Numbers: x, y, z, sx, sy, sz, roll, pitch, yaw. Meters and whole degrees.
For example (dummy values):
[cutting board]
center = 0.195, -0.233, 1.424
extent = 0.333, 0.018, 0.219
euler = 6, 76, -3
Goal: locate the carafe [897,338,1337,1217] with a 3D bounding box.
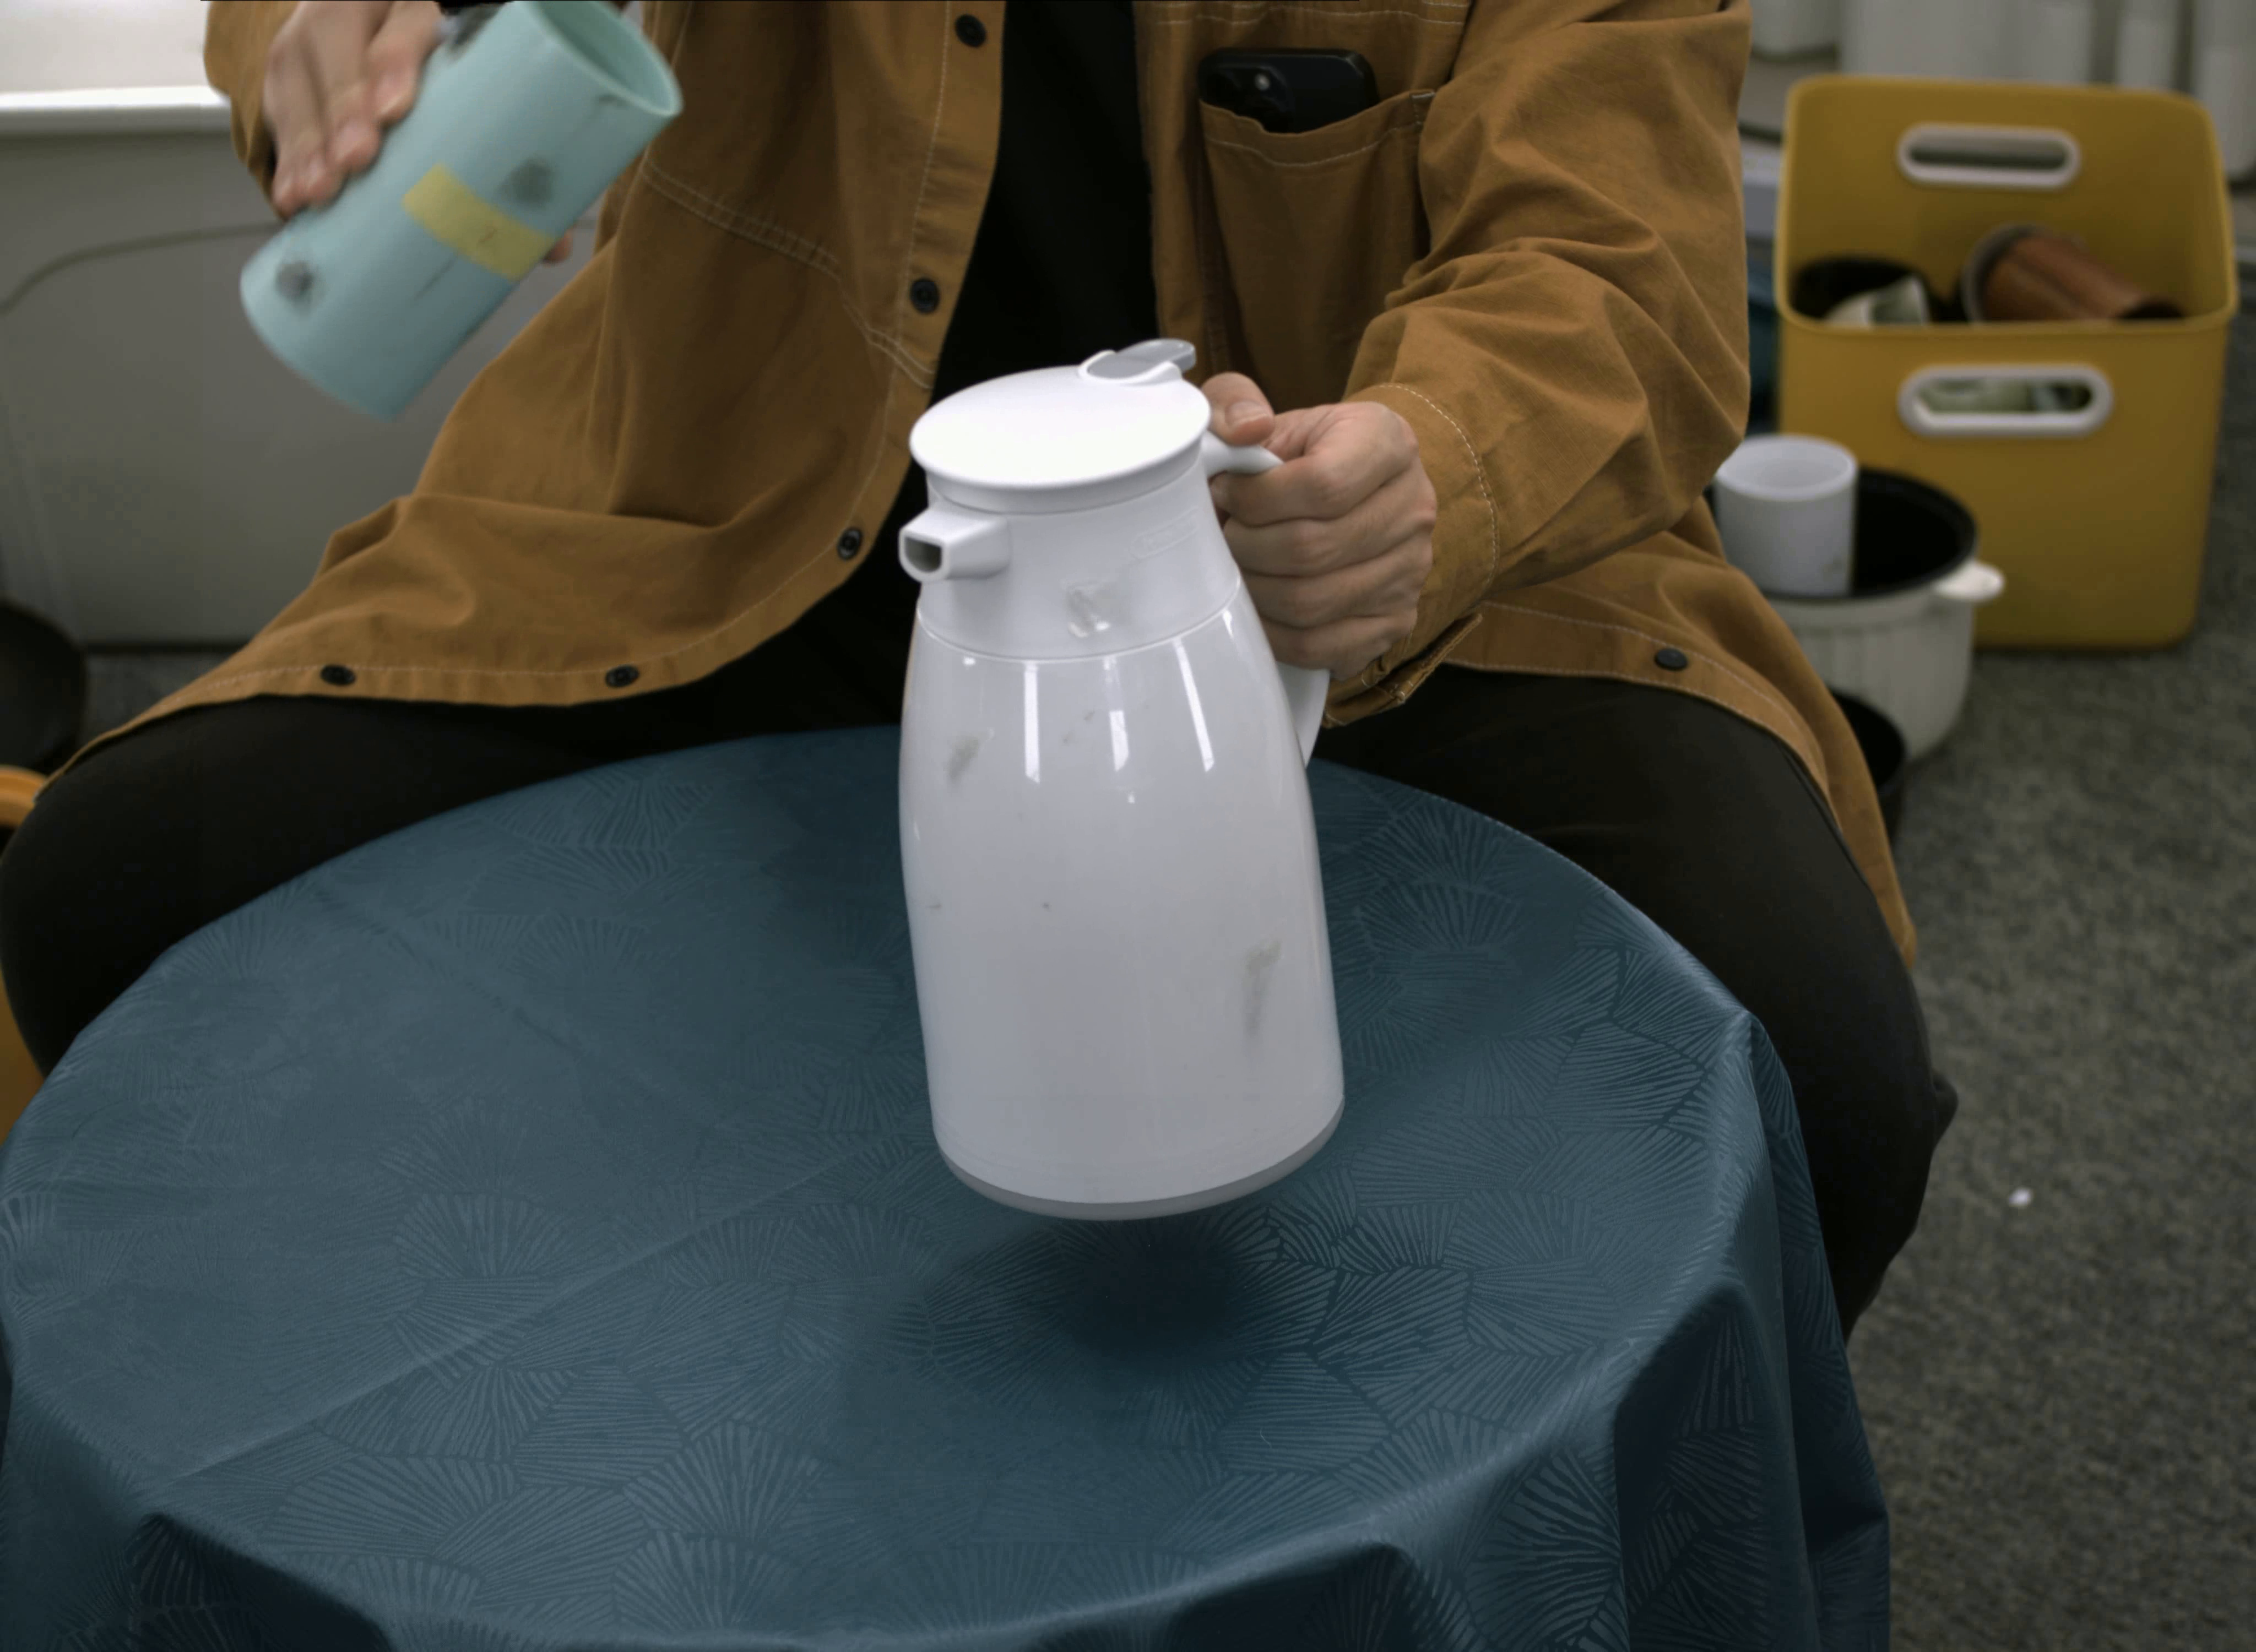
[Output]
[carafe]
center = 0.003, -0.026, 1.753
extent = 0.132, 0.246, 0.170
euler = 18, 33, 40

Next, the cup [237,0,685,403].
[cup]
center = -0.198, -0.193, 1.676
extent = 0.131, 0.066, 0.067
euler = -42, 22, 15
